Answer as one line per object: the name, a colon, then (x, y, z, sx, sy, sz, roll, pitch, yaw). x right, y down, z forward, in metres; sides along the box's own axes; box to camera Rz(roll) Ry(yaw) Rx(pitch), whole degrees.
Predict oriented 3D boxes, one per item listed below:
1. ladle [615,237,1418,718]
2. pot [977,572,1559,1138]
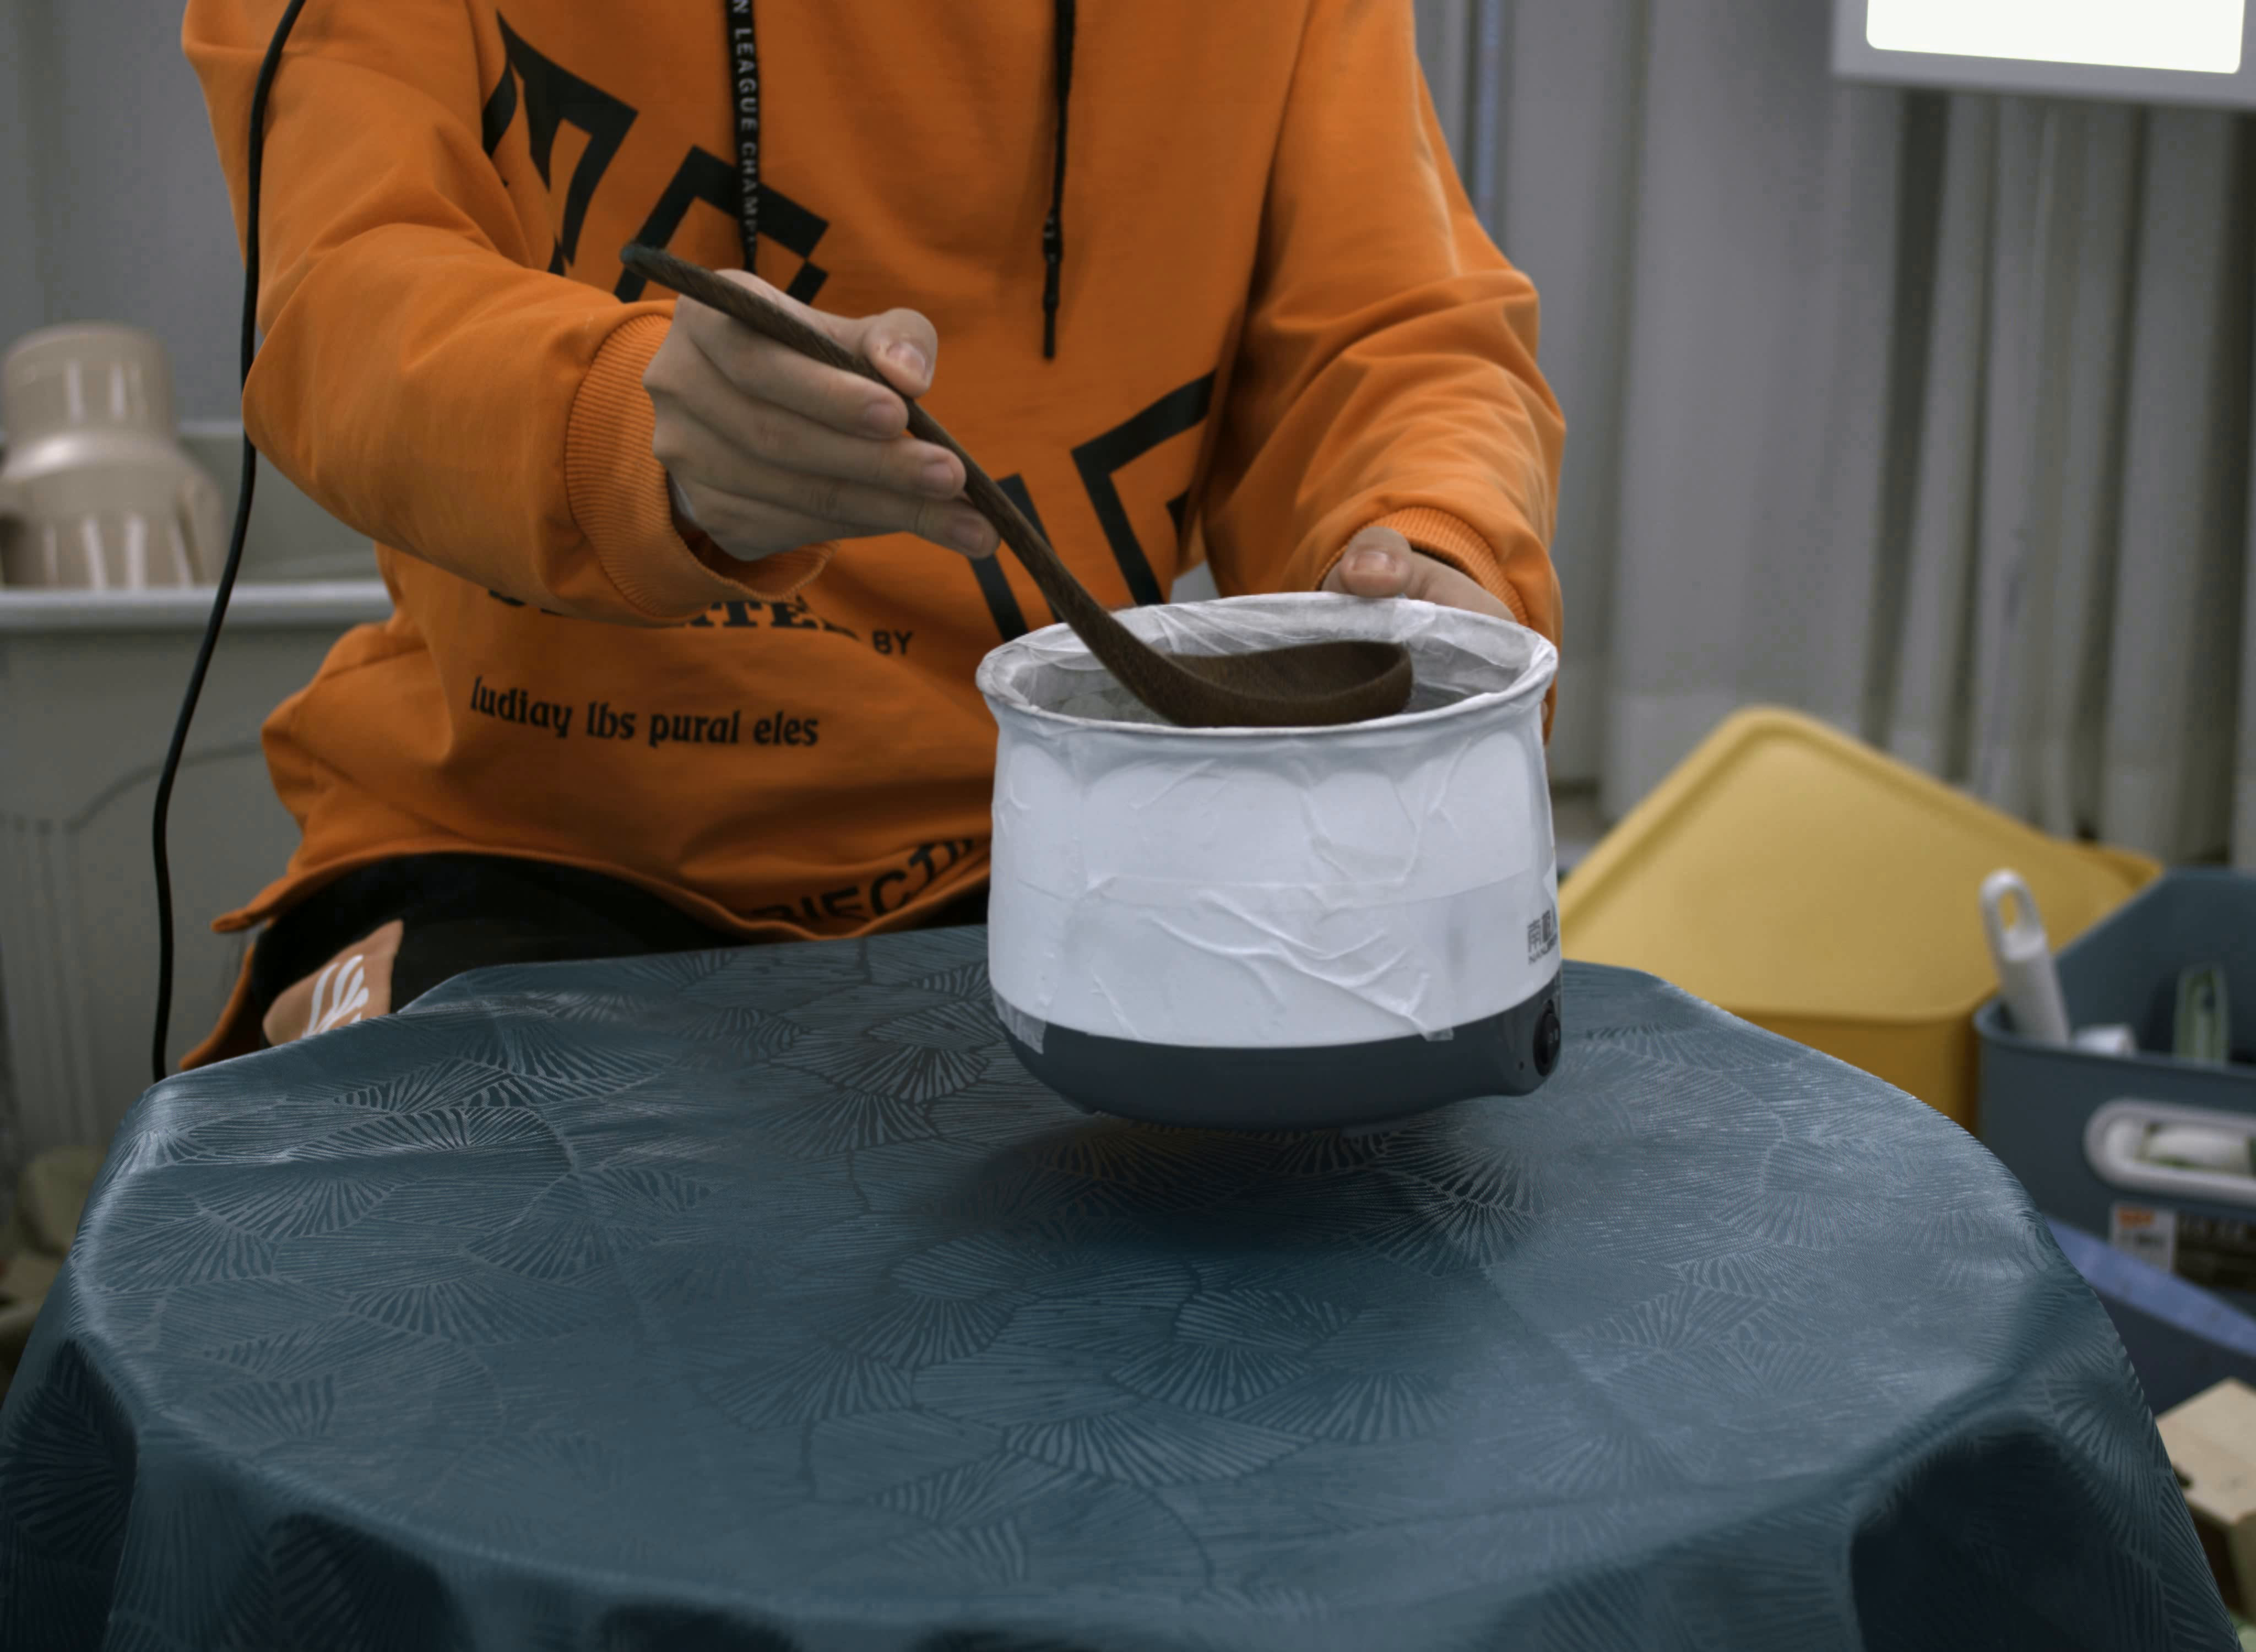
ladle: (-0.028, -0.109, 1.567, 0.276, 0.071, 0.075, 41, -3, -19)
pot: (0.053, 0.003, 1.638, 0.177, 0.138, 0.234, 4, 17, 19)
